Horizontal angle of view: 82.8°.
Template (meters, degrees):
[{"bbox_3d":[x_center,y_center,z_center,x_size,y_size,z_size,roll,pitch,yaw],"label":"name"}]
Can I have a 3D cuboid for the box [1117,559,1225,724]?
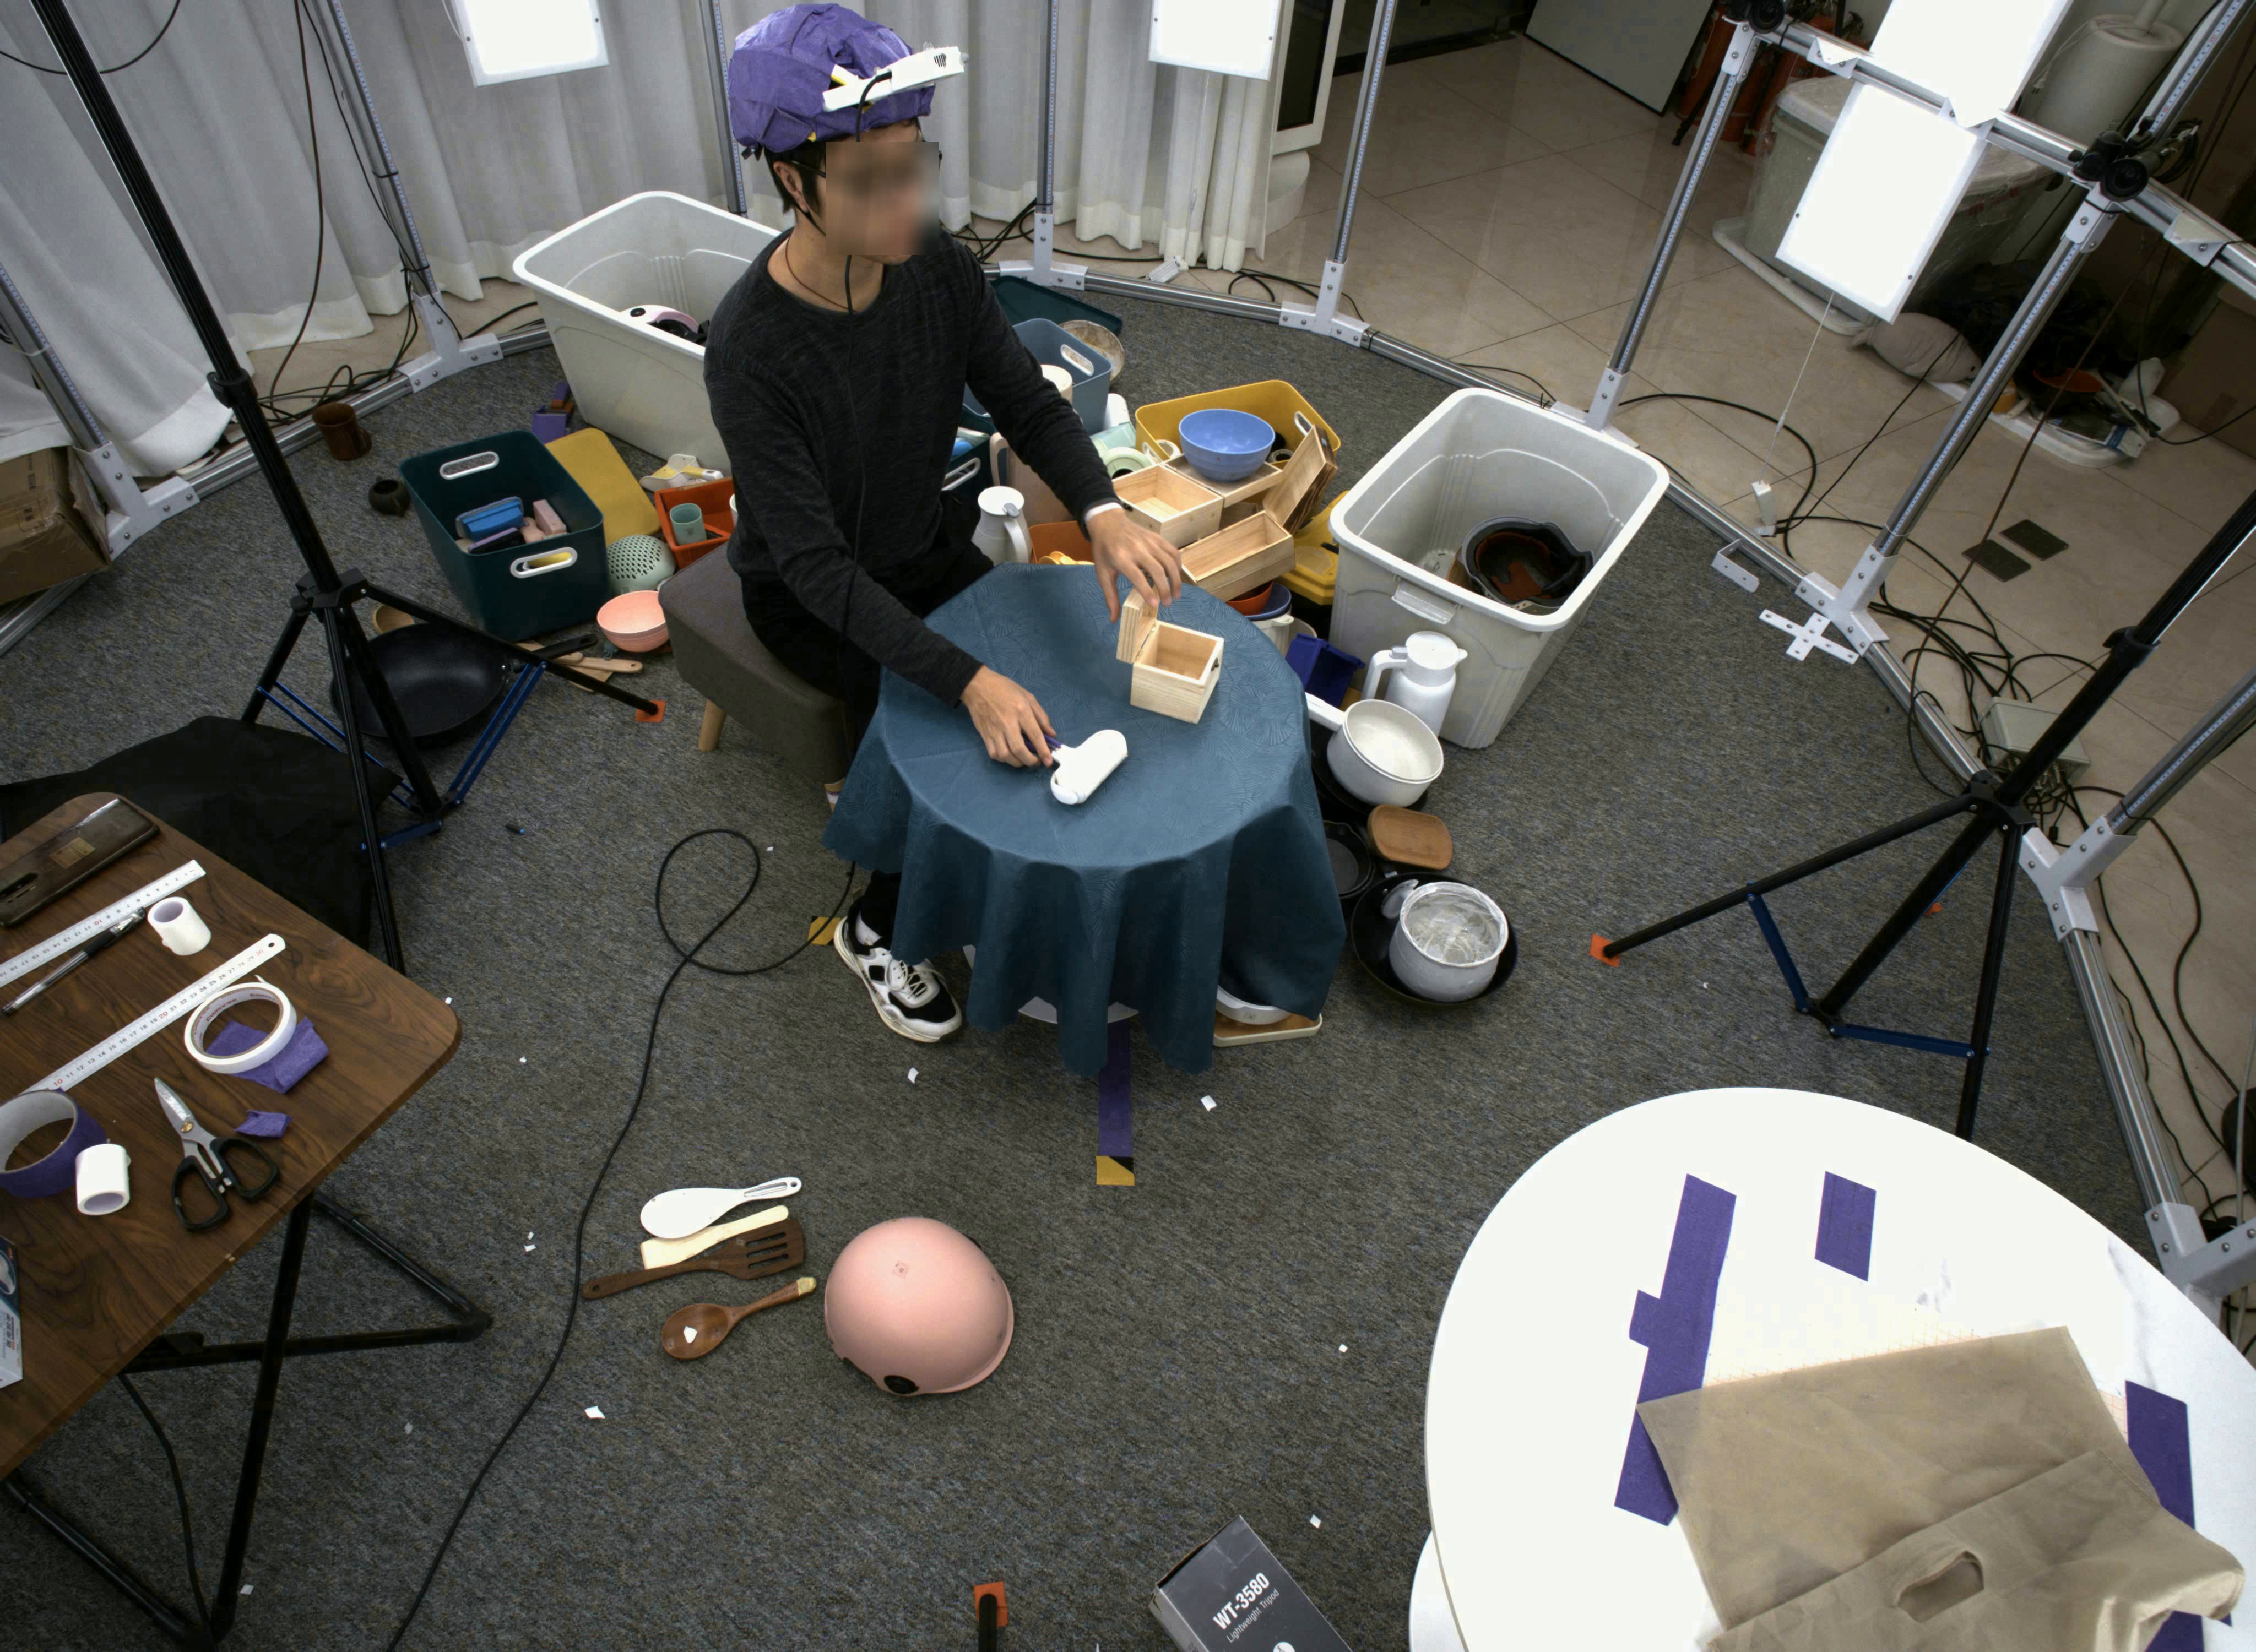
[{"bbox_3d":[0.064,-0.254,1.776,0.134,0.180,0.104,18,50,11],"label":"box"}]

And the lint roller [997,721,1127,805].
[{"bbox_3d":[-0.101,-0.110,1.727,0.182,0.049,0.134,31,55,19],"label":"lint roller"}]
